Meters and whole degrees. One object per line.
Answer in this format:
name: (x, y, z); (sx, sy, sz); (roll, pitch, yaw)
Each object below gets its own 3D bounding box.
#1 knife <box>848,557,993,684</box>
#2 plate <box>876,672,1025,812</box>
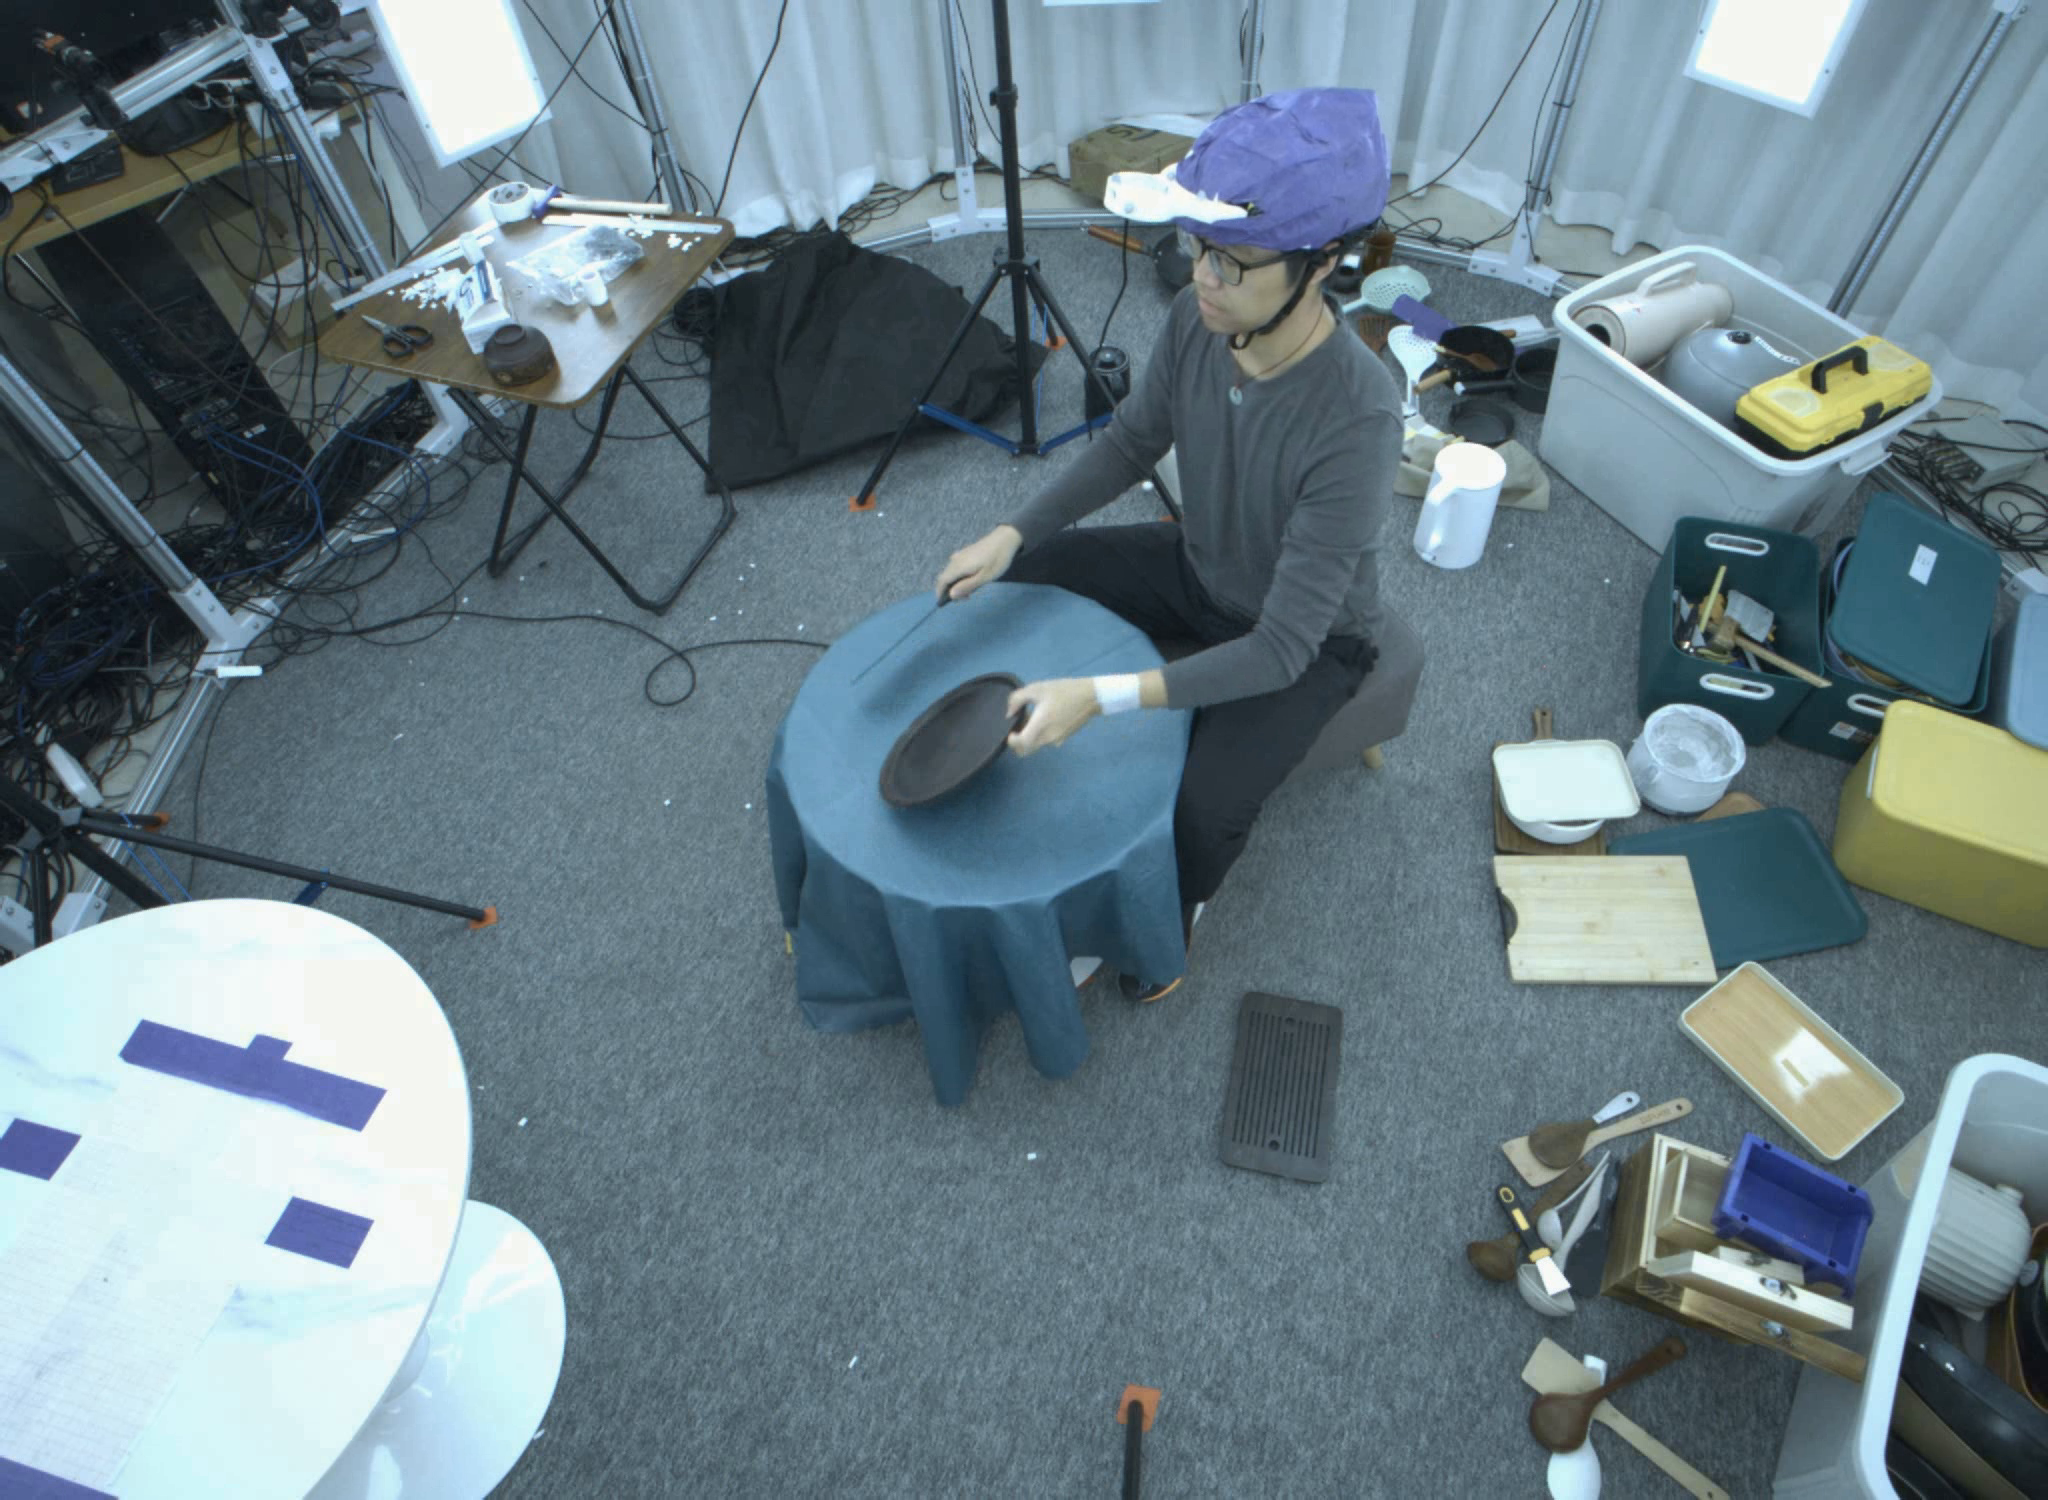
knife: (-0.156, -0.199, 1.863); (0.304, 0.080, 0.021); (-44, 96, -21)
plate: (-0.102, -0.013, 1.715); (0.252, 0.029, 0.252); (-28, 31, 21)
